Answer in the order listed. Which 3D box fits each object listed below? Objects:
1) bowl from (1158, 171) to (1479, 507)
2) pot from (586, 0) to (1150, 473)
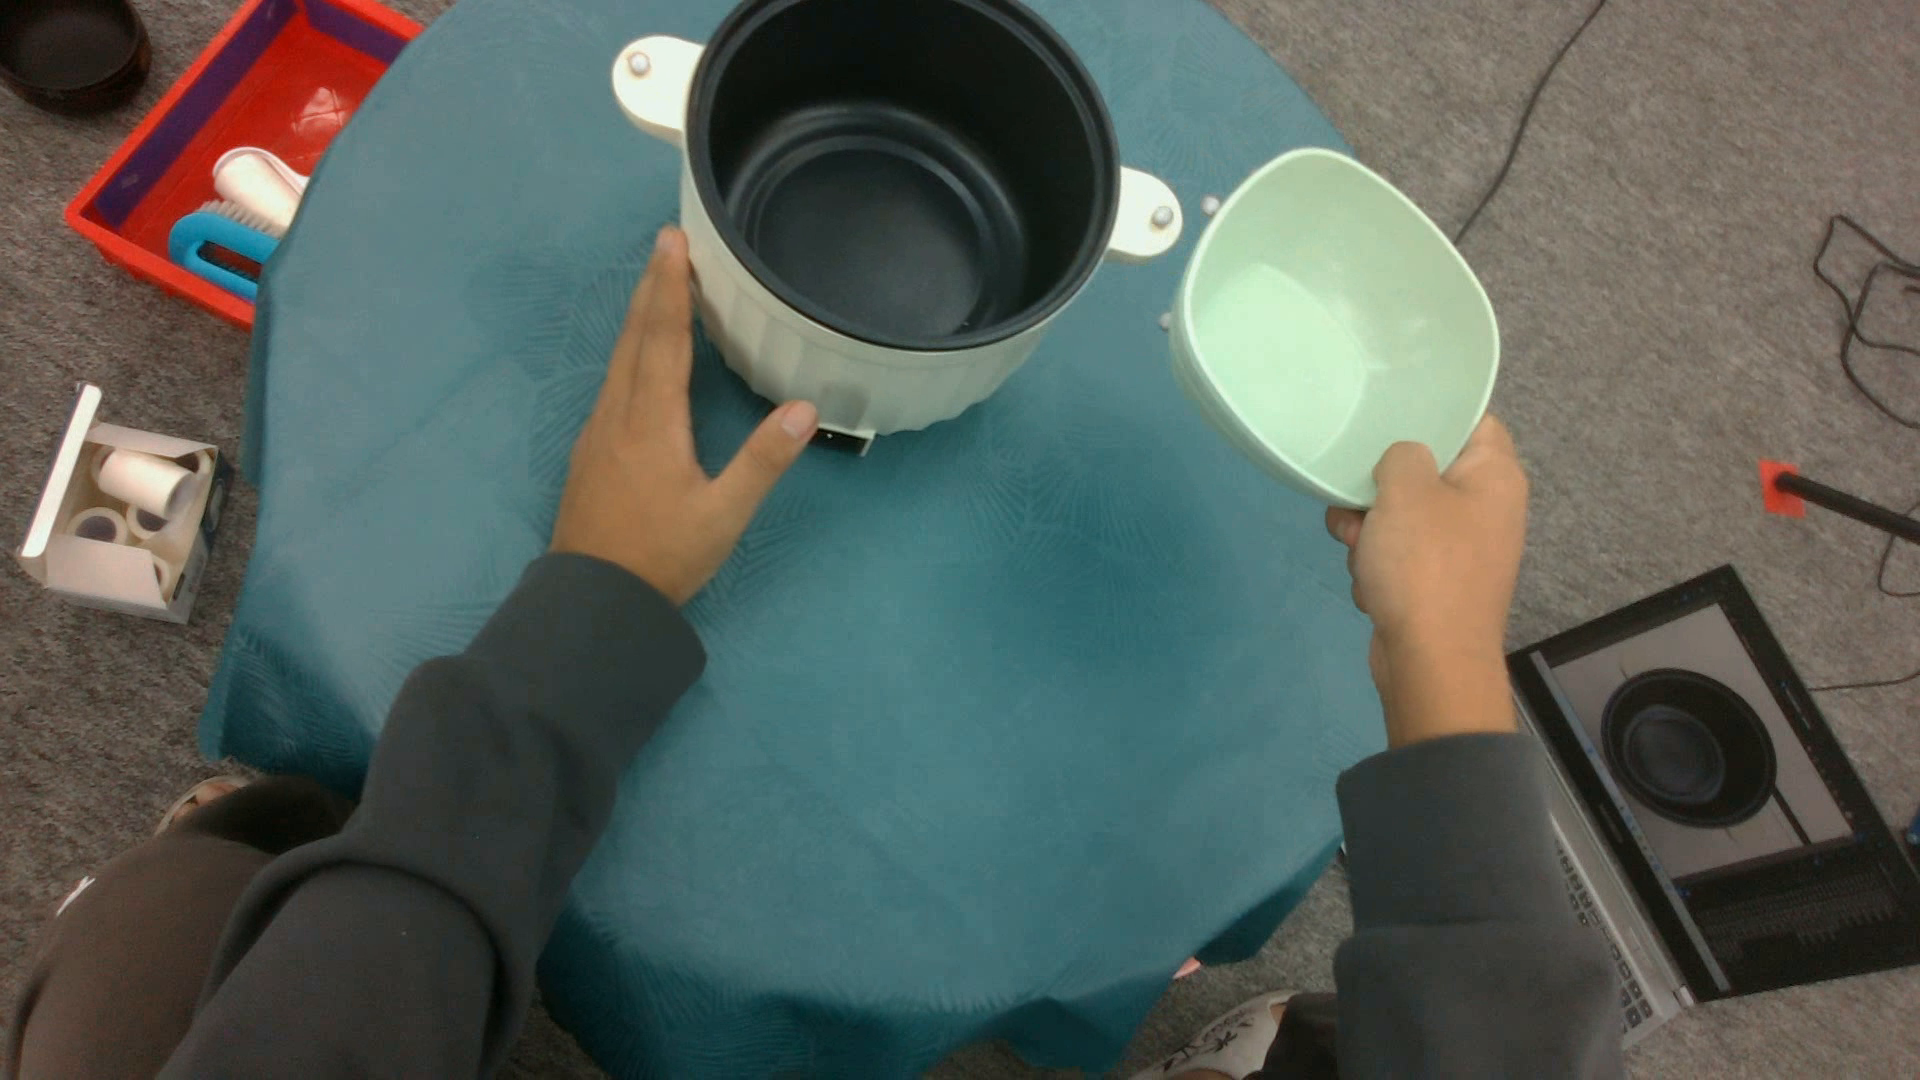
[{"bbox_3d":[0.147,-0.080,0.603,0.151,0.058,0.152,5,73,-17],"label":"bowl"},{"bbox_3d":[-0.048,-0.140,0.637,0.240,0.142,0.191,8,74,-13],"label":"pot"}]
